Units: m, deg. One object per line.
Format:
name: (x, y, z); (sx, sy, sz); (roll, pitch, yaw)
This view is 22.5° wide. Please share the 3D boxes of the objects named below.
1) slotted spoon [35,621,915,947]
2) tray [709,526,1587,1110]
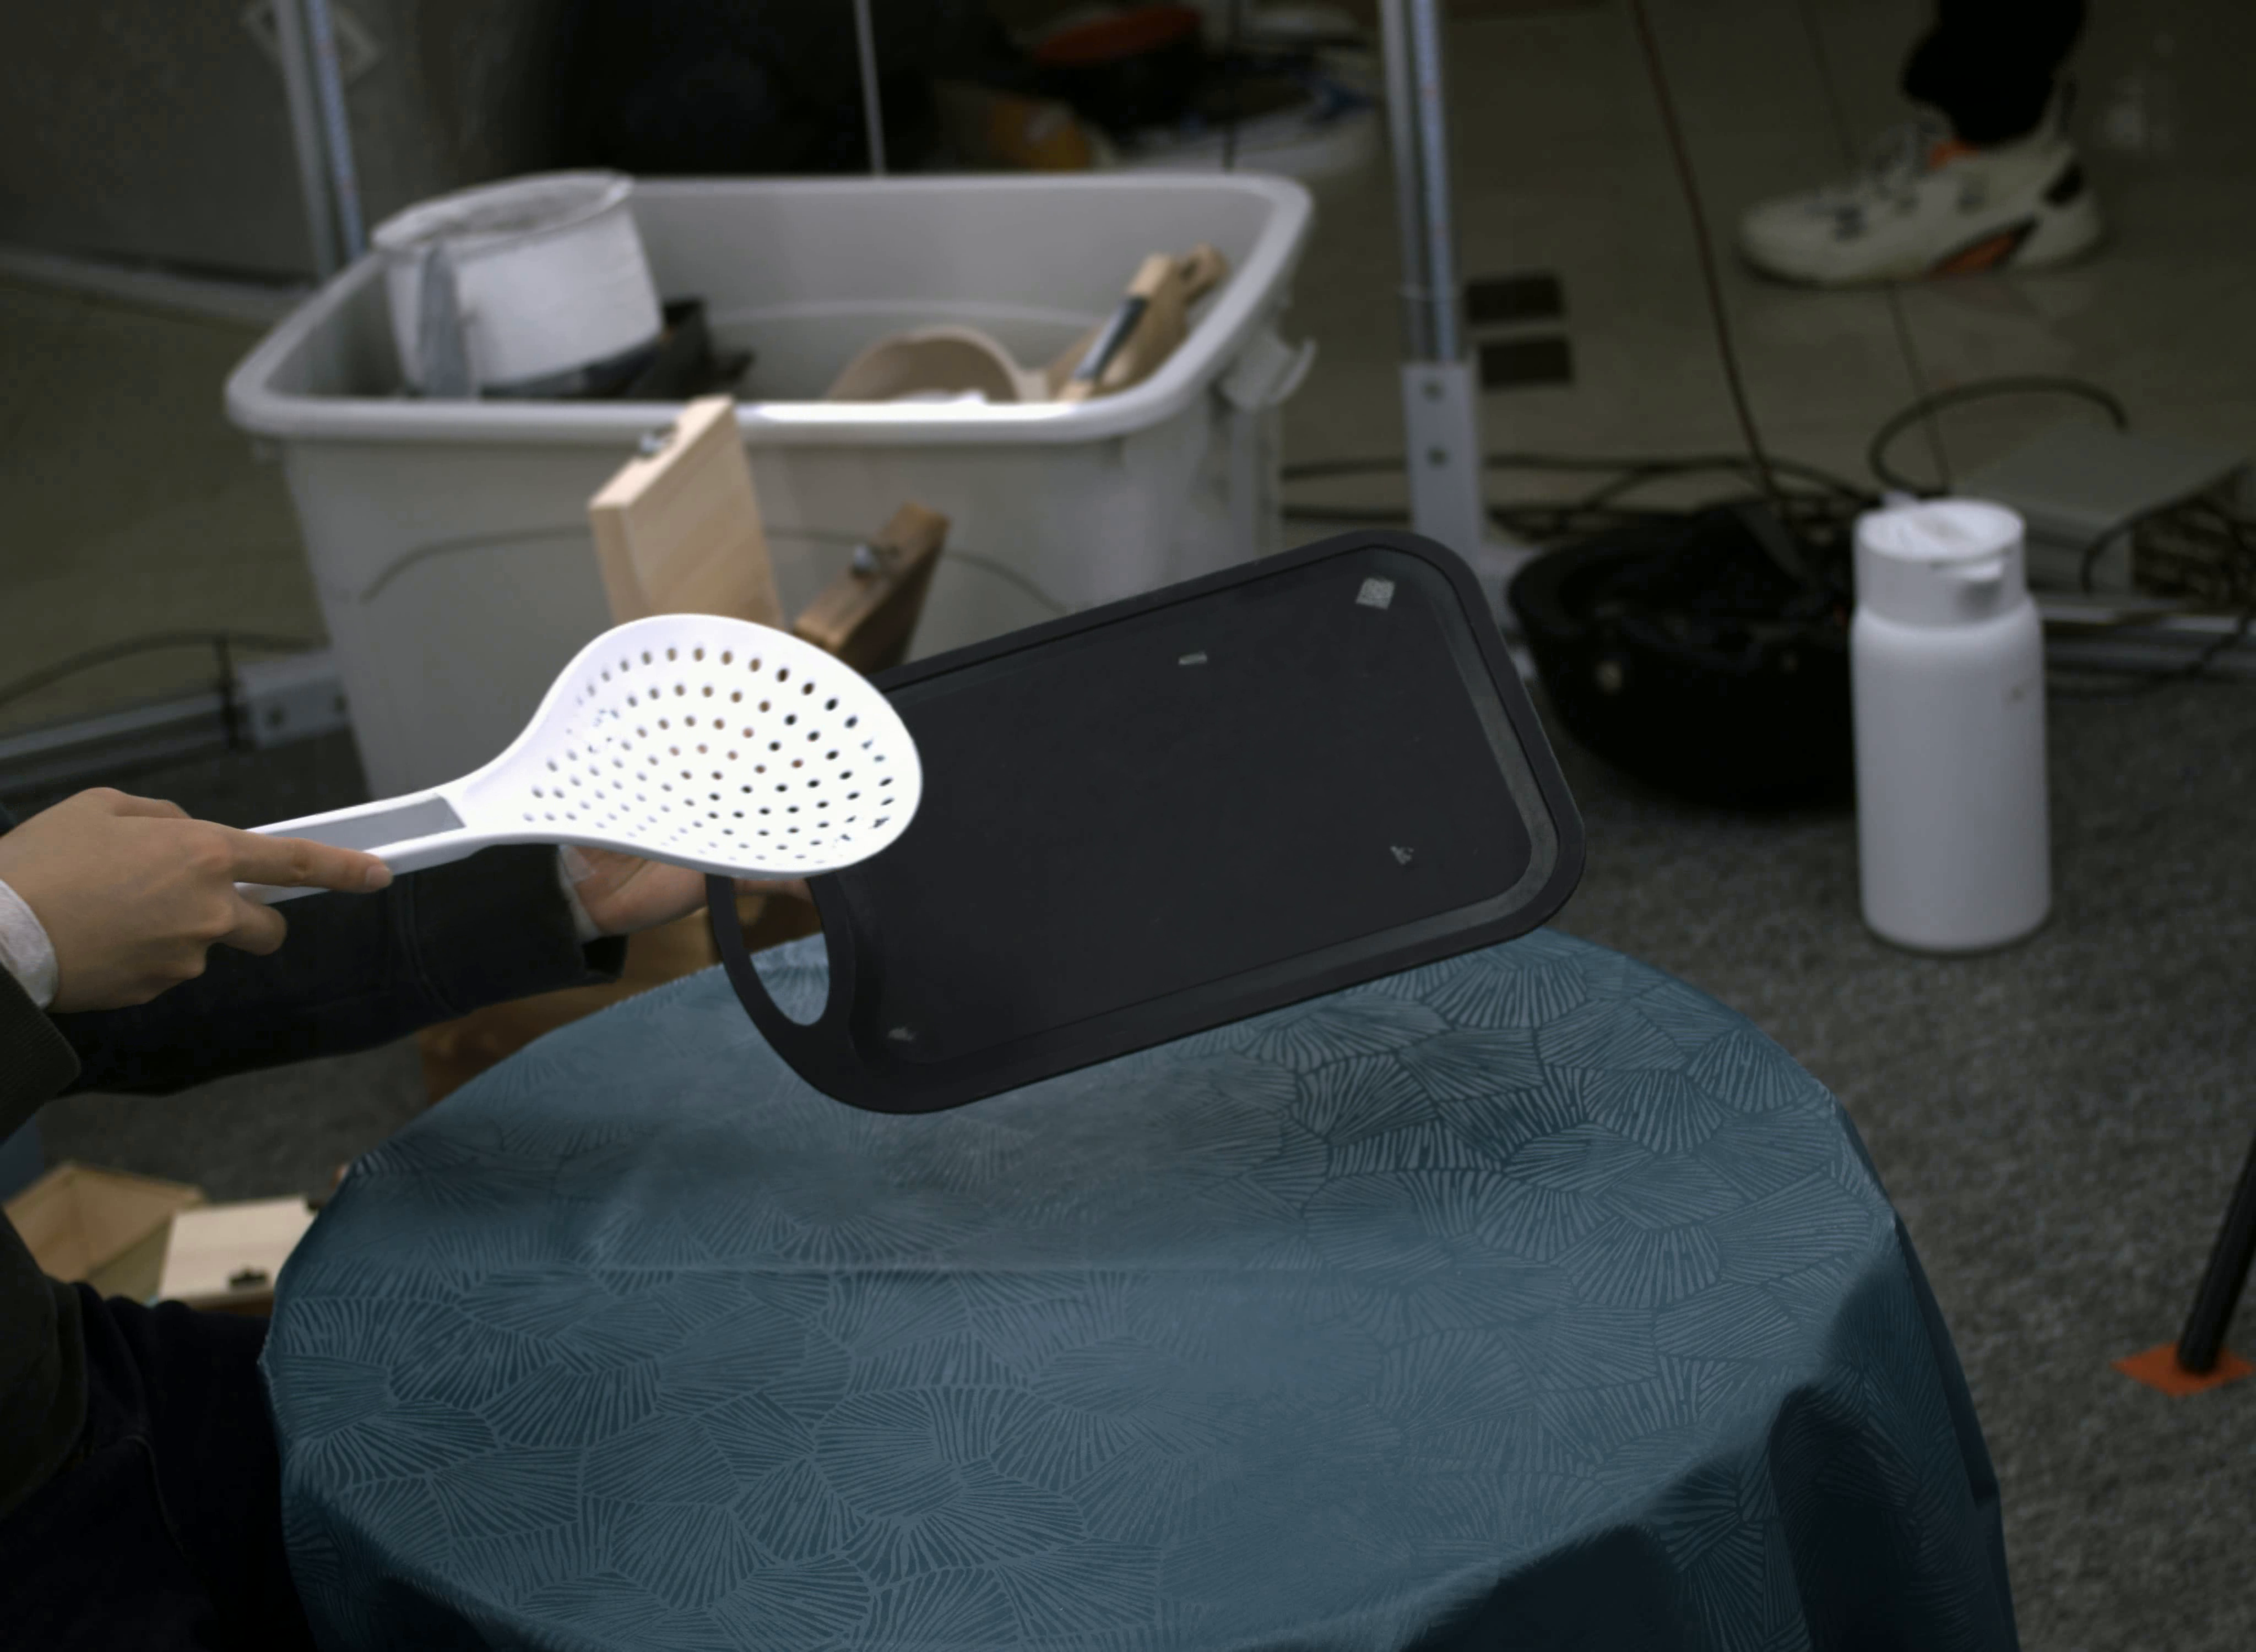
slotted spoon: (-0.227, -0.004, 1.996); (0.348, 0.046, 0.134); (-10, 48, -42)
tray: (0.001, -0.004, 2.152); (0.325, 0.010, 0.207); (-17, 54, -3)
